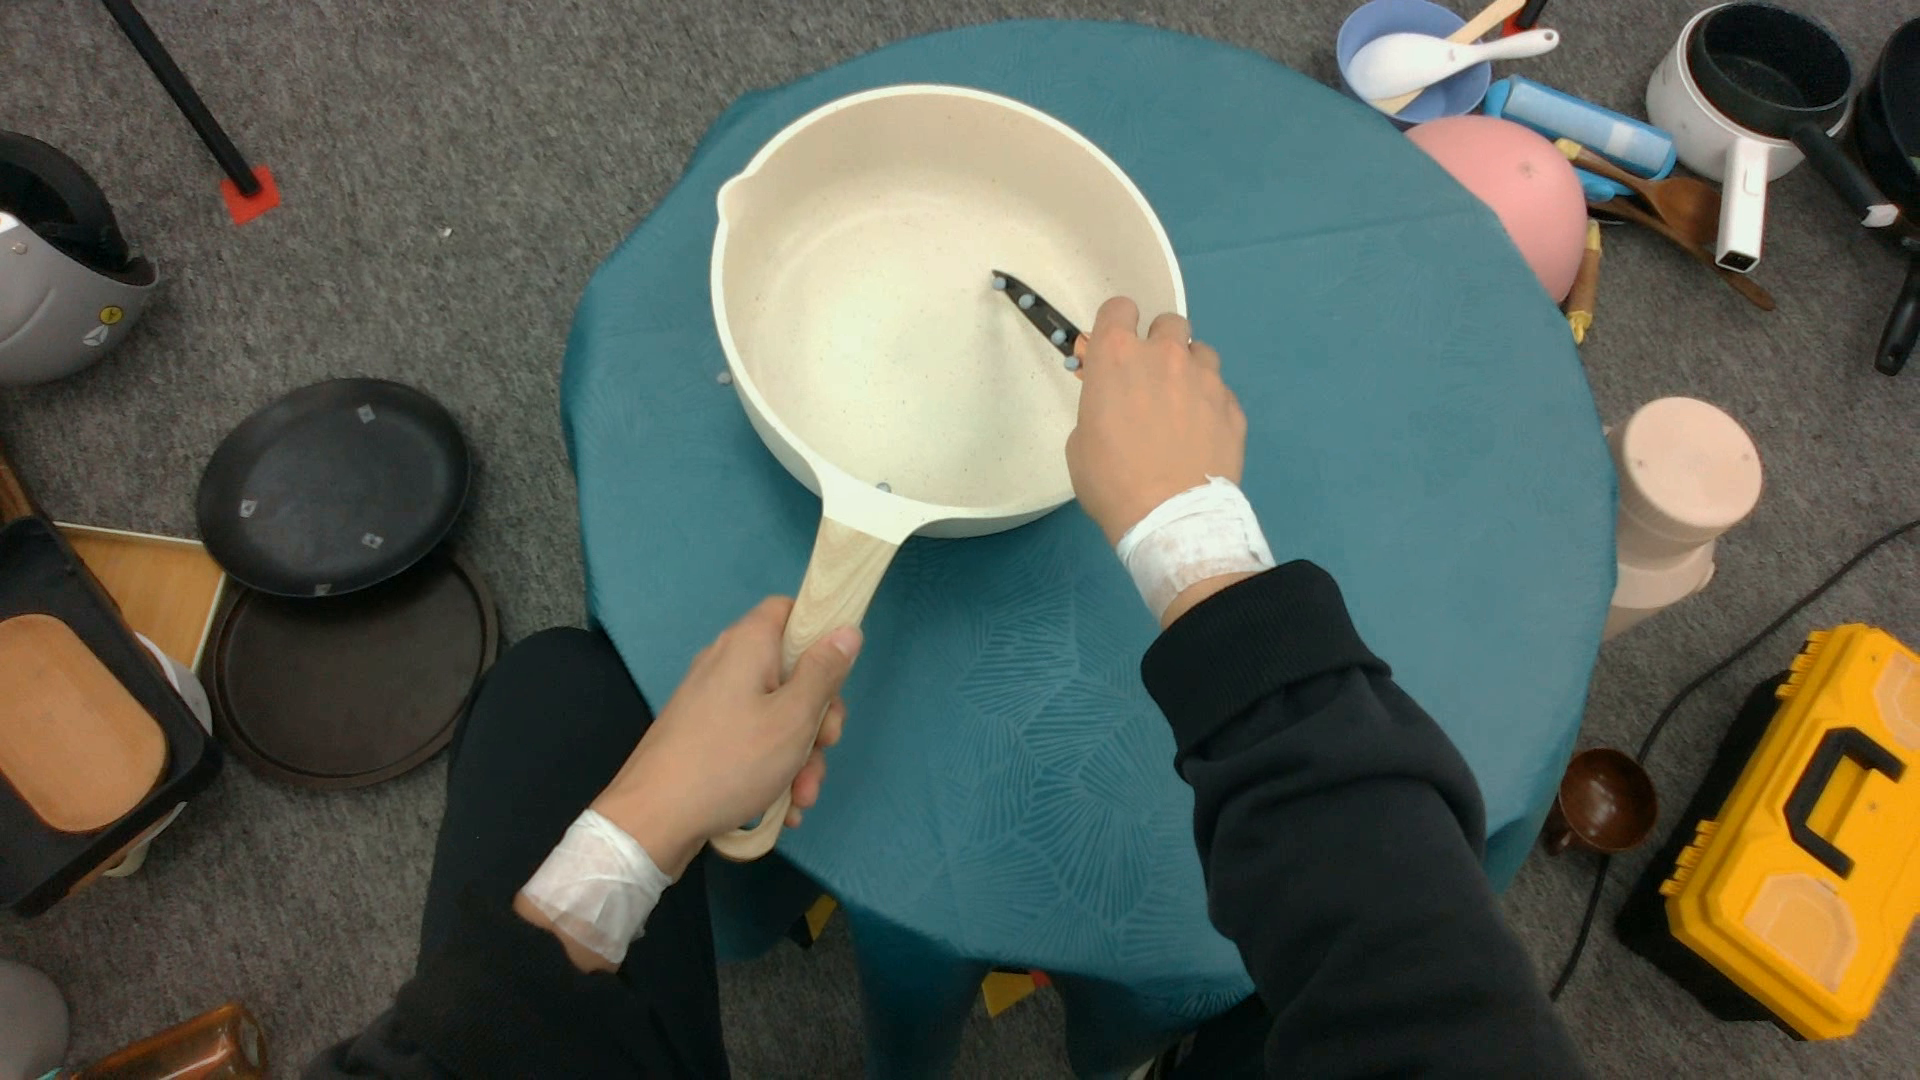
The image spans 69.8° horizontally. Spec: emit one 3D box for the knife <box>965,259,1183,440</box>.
[{"bbox_3d":[0.052,-0.111,0.731,0.017,0.026,0.226,-26,41,-13],"label":"knife"}]

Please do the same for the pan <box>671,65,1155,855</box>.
[{"bbox_3d":[-0.055,-0.047,0.705,0.263,0.101,0.436,21,67,-7],"label":"pan"}]
